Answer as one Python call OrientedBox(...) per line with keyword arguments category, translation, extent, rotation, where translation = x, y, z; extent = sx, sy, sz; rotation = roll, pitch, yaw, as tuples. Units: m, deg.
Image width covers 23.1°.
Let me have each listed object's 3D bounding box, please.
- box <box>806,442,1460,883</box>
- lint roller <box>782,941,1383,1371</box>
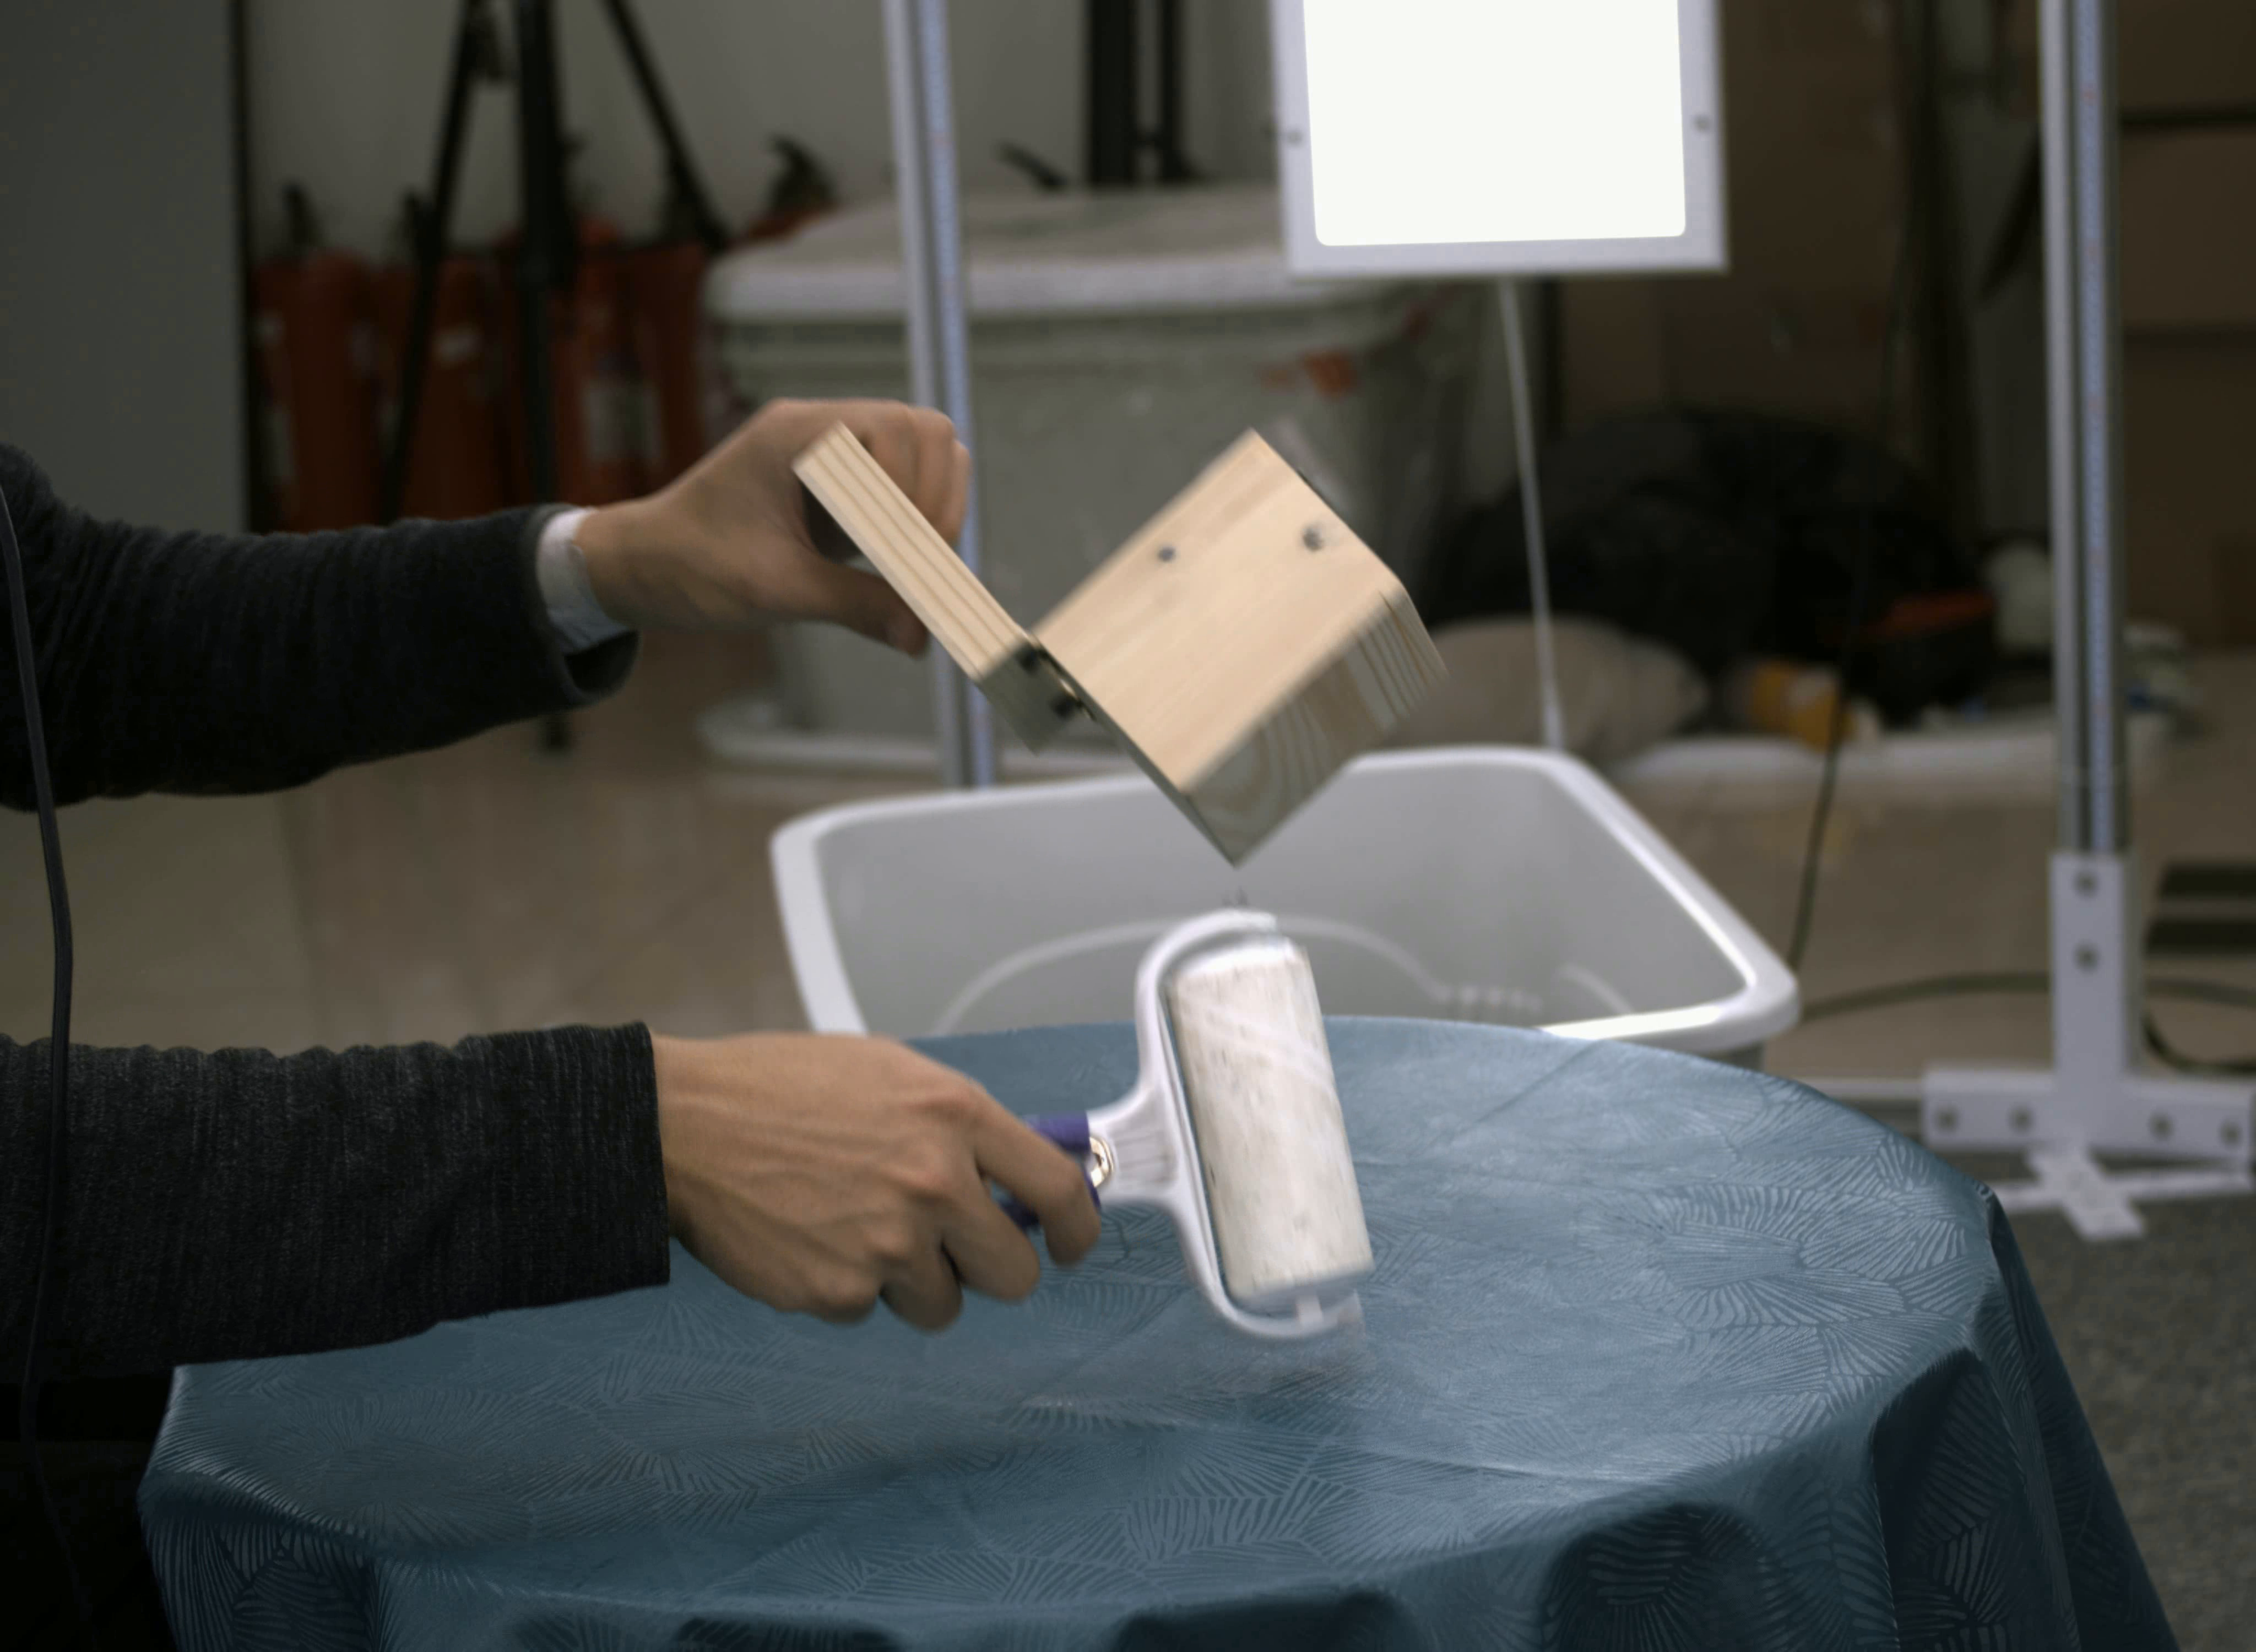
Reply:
OrientedBox(category="box", translation=(0.003, -0.083, 1.875), extent=(0.134, 0.186, 0.102), rotation=(-42, -19, 0))
OrientedBox(category="lint roller", translation=(-0.015, 0.107, 1.673), extent=(0.177, 0.133, 0.051), rotation=(-5, -14, -20))
